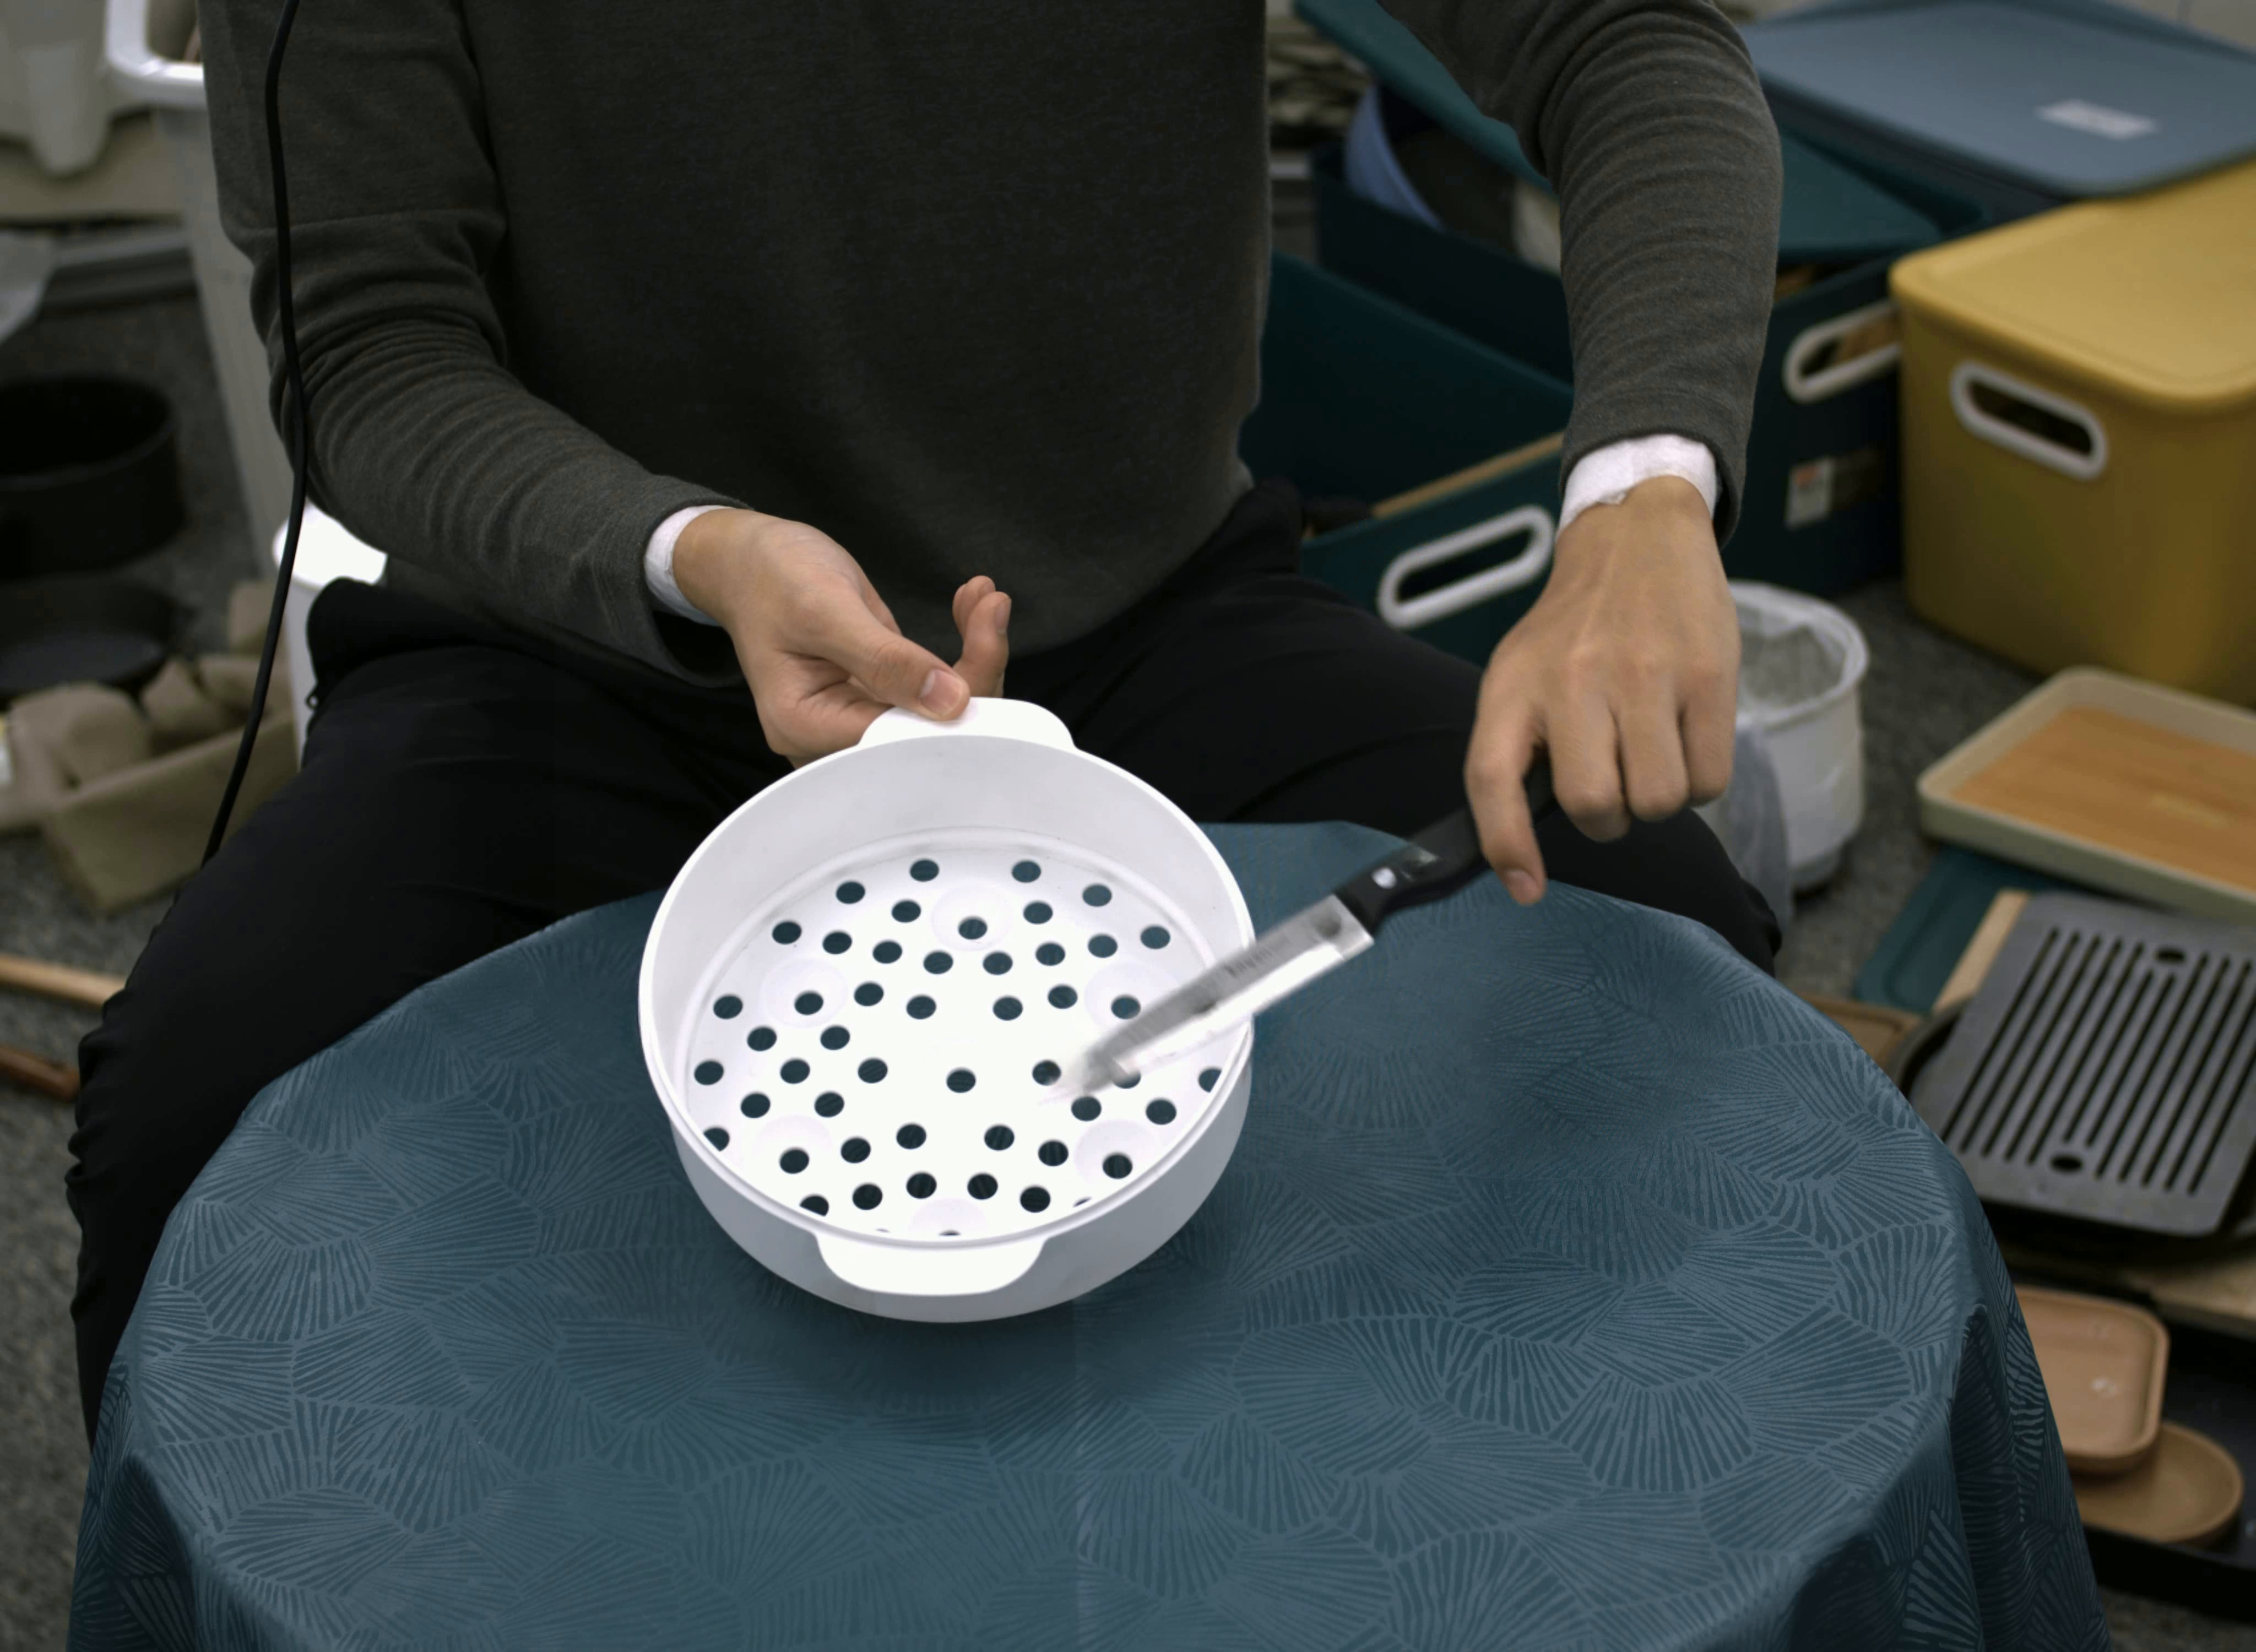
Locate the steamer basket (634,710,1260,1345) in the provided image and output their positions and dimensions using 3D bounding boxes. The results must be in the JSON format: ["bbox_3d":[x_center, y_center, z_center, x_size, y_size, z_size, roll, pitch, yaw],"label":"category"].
[{"bbox_3d":[-0.057,0.071,1.824,0.201,0.068,0.235,1,53,2],"label":"steamer basket"}]

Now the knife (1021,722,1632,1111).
[{"bbox_3d":[0.062,0.029,1.808,0.240,0.016,0.024,-31,58,-18],"label":"knife"}]
